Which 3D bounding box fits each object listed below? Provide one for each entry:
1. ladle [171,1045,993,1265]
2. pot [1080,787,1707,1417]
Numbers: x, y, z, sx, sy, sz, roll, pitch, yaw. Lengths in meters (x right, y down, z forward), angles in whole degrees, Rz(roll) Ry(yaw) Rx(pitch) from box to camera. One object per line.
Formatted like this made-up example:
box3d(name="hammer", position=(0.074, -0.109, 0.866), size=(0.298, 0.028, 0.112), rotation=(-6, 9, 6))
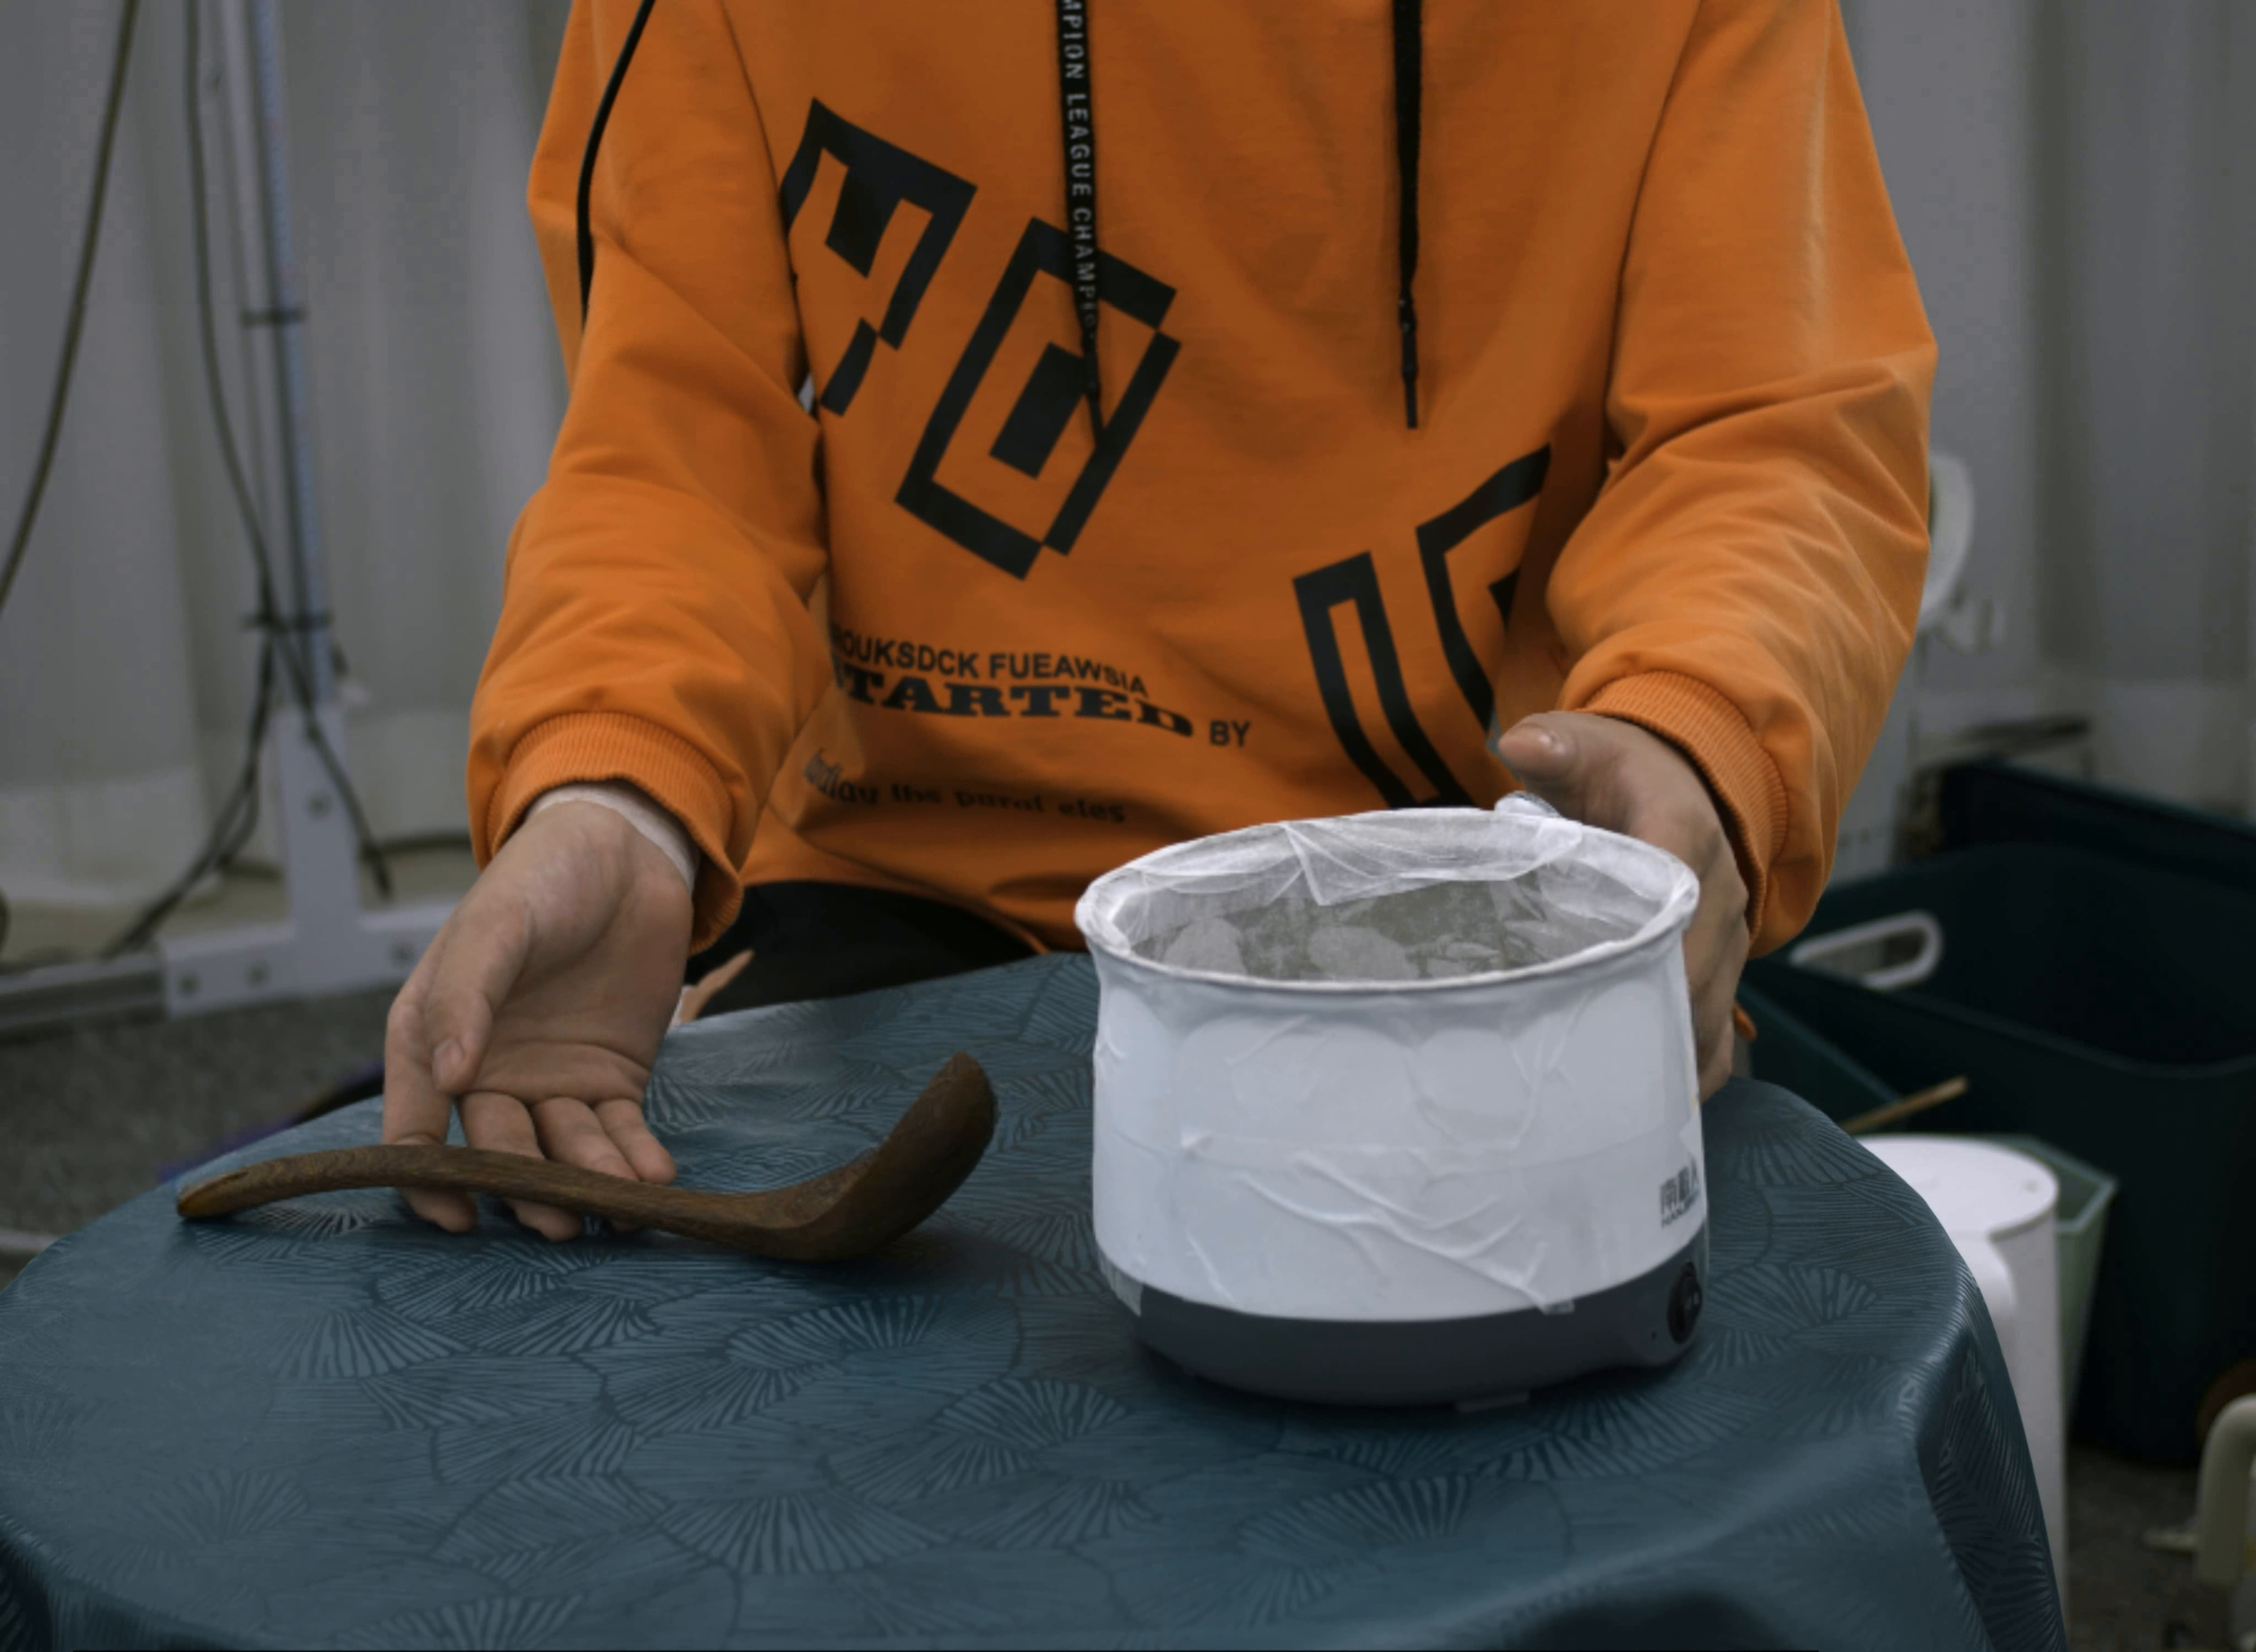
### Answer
box3d(name="ladle", position=(-0.172, 0.095, 1.689), size=(0.274, 0.071, 0.076), rotation=(3, 14, 19))
box3d(name="pot", position=(0.088, 0.073, 1.588), size=(0.179, 0.136, 0.234), rotation=(5, 17, 25))
